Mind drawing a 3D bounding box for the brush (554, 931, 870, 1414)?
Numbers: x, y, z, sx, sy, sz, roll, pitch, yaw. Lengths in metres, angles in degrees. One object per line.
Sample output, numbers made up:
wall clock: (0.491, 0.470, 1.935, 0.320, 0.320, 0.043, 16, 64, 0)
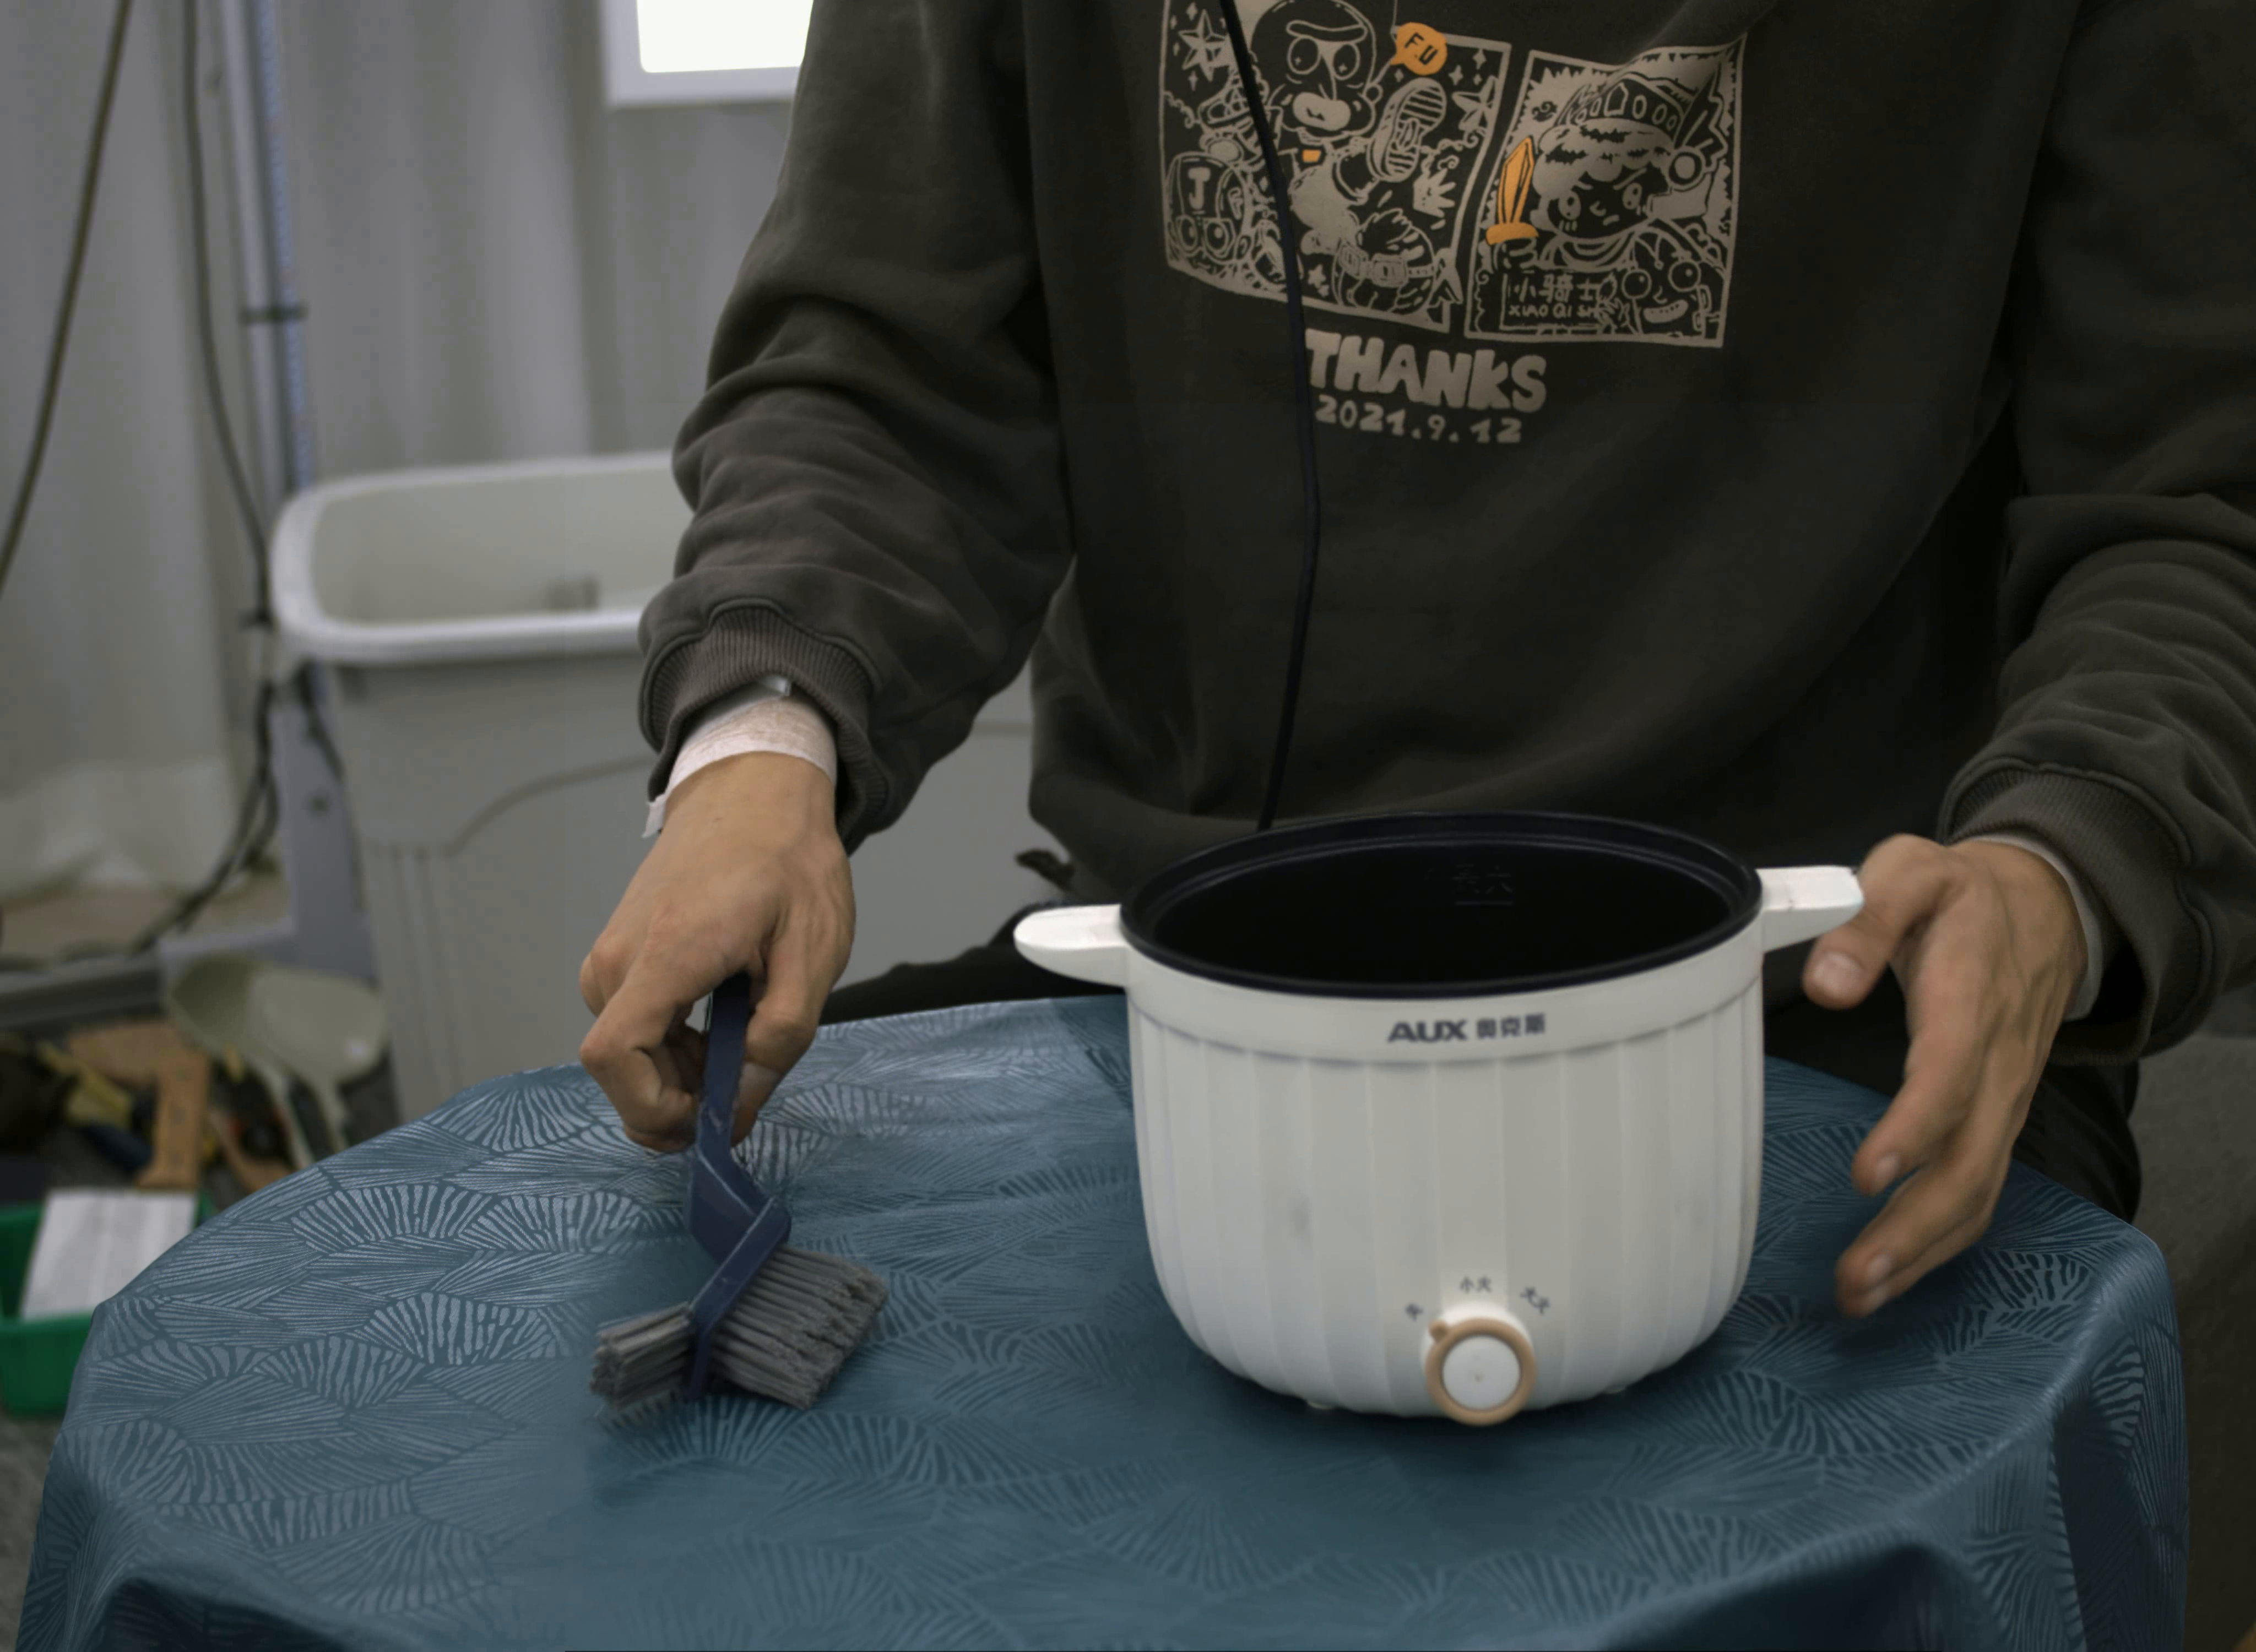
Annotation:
brush: (-0.133, 0.102, 1.669, 0.095, 0.033, 0.276, 5, 23, -11)

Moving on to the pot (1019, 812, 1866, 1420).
pot: (0.093, 0.084, 1.550, 0.239, 0.142, 0.191, -4, 11, 0)
